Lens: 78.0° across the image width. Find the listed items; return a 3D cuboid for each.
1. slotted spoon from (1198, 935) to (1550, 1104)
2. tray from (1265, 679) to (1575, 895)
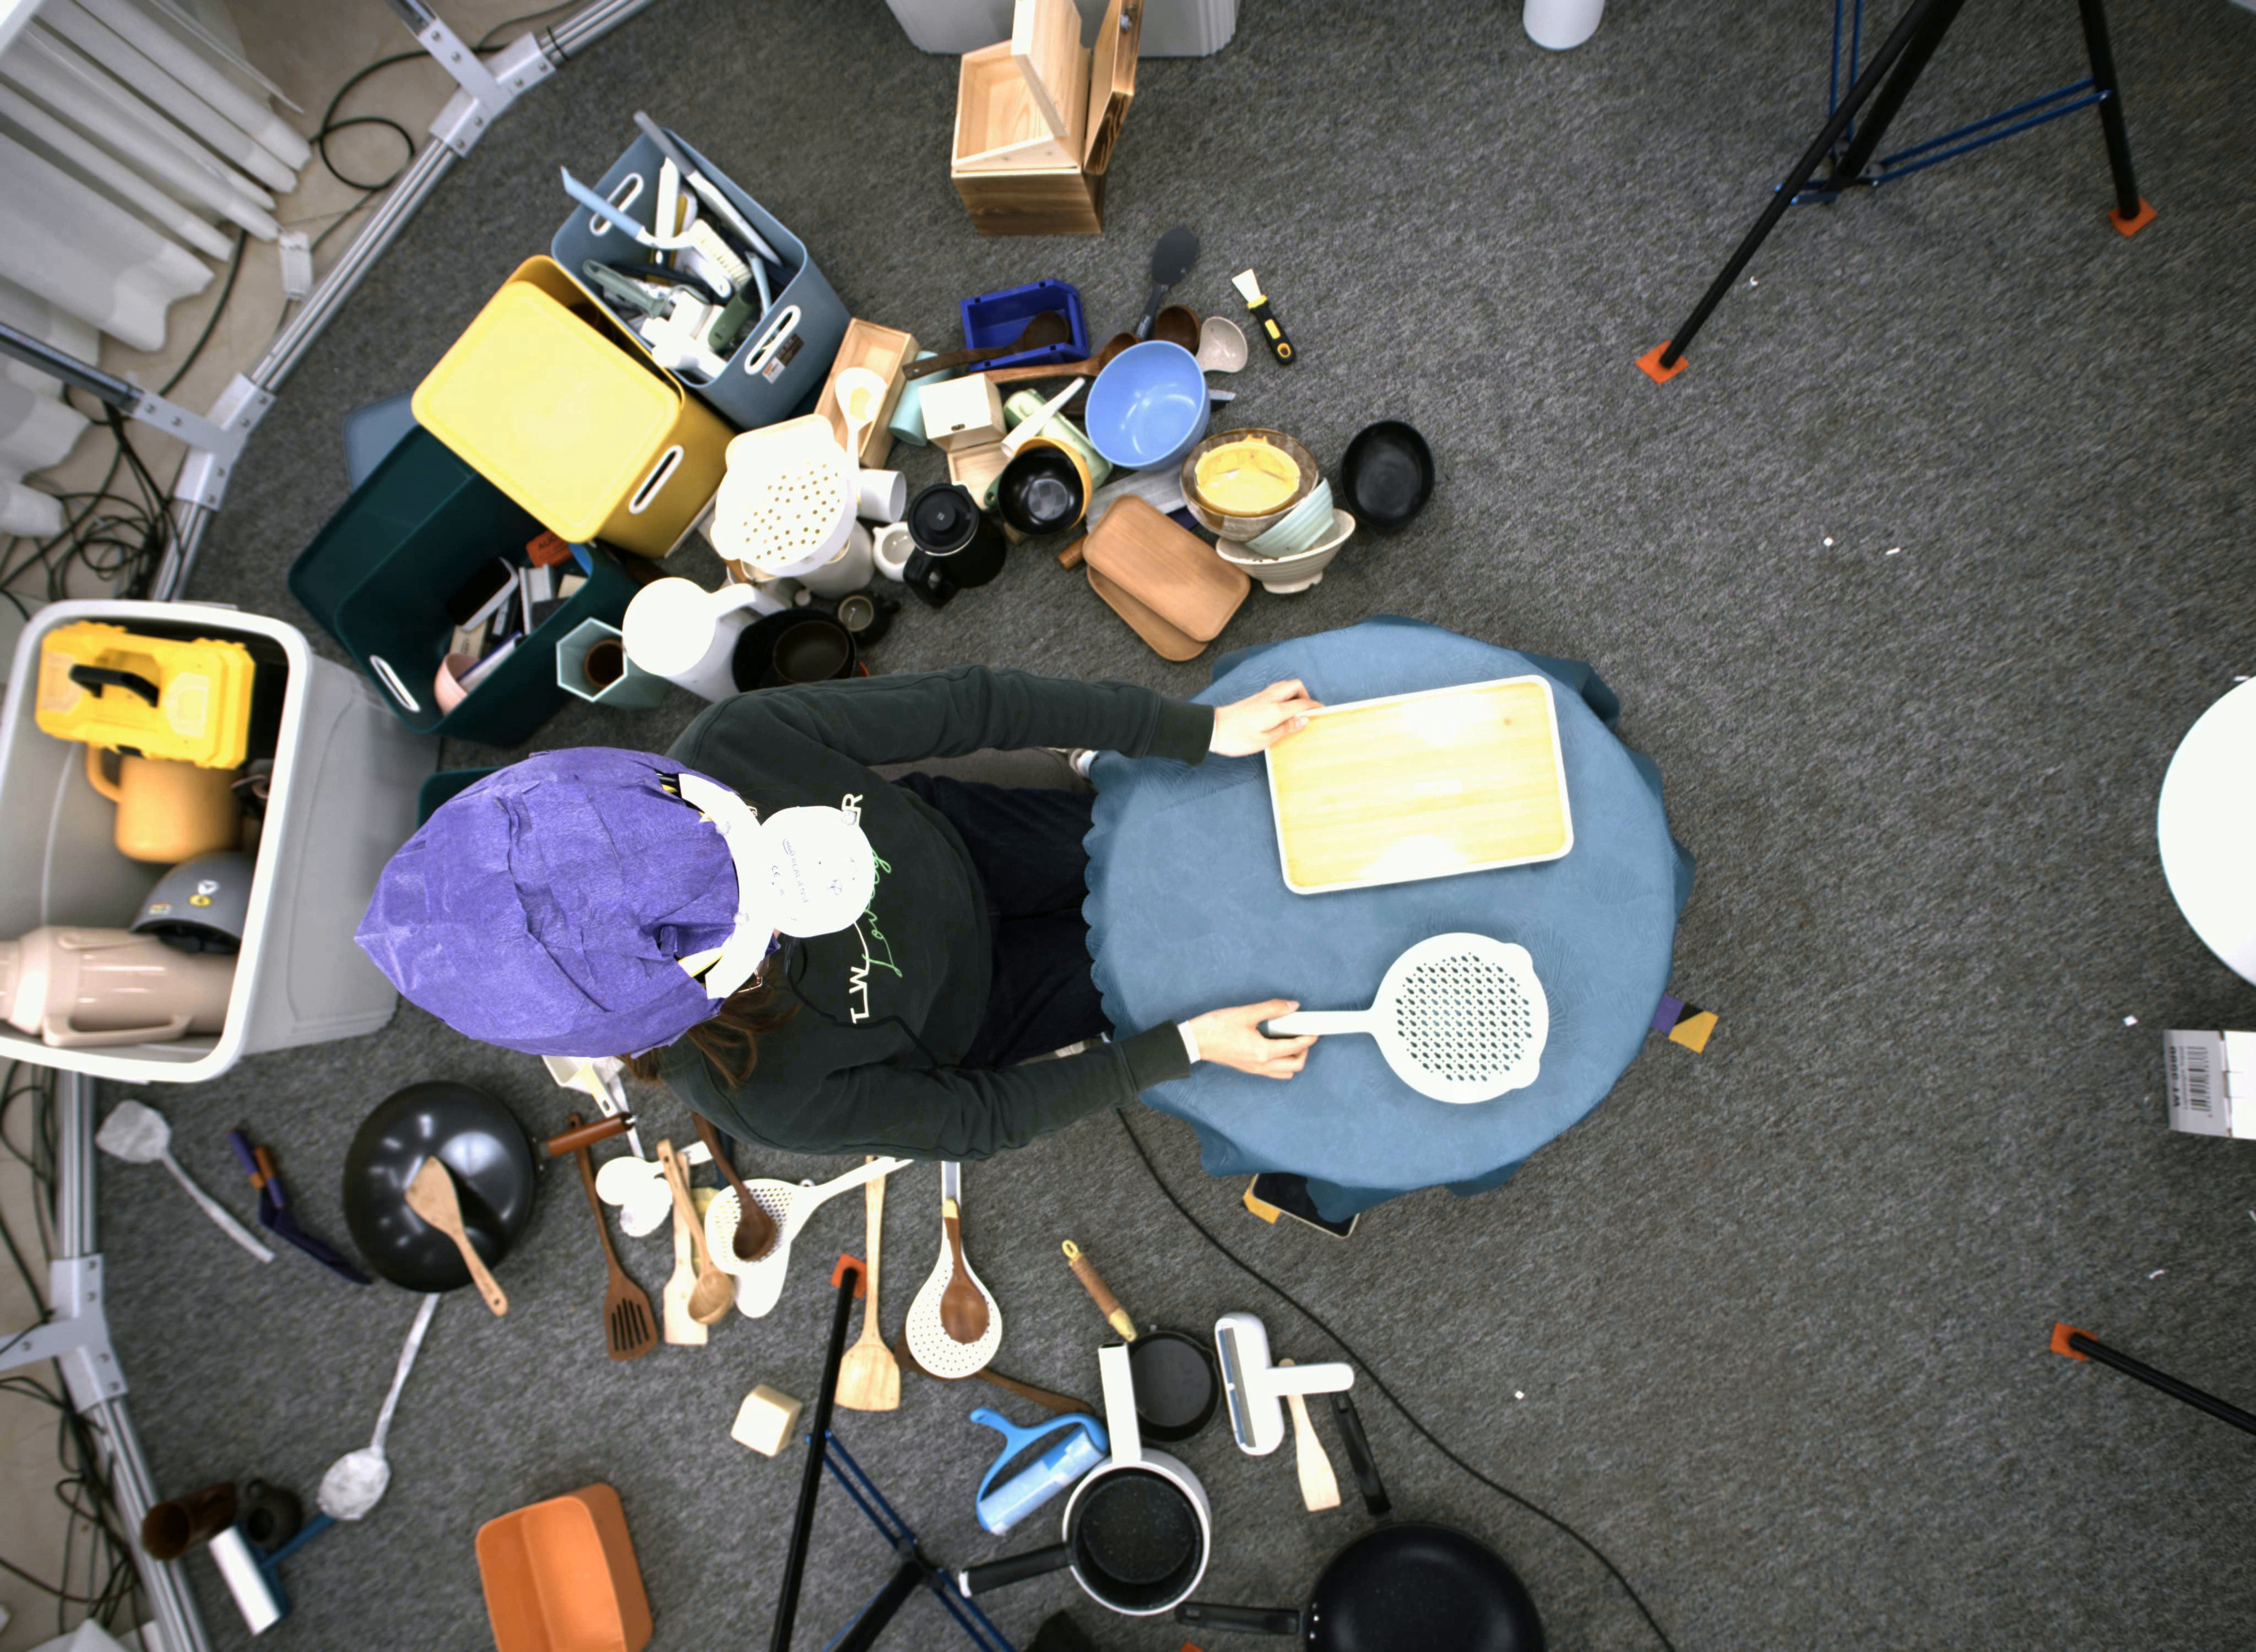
[{"bbox_3d":[0.247,0.201,1.428,0.360,0.075,0.168,-3,81,10],"label":"slotted spoon"},{"bbox_3d":[0.303,-0.041,1.441,0.302,0.027,0.192,-8,93,9],"label":"tray"}]
